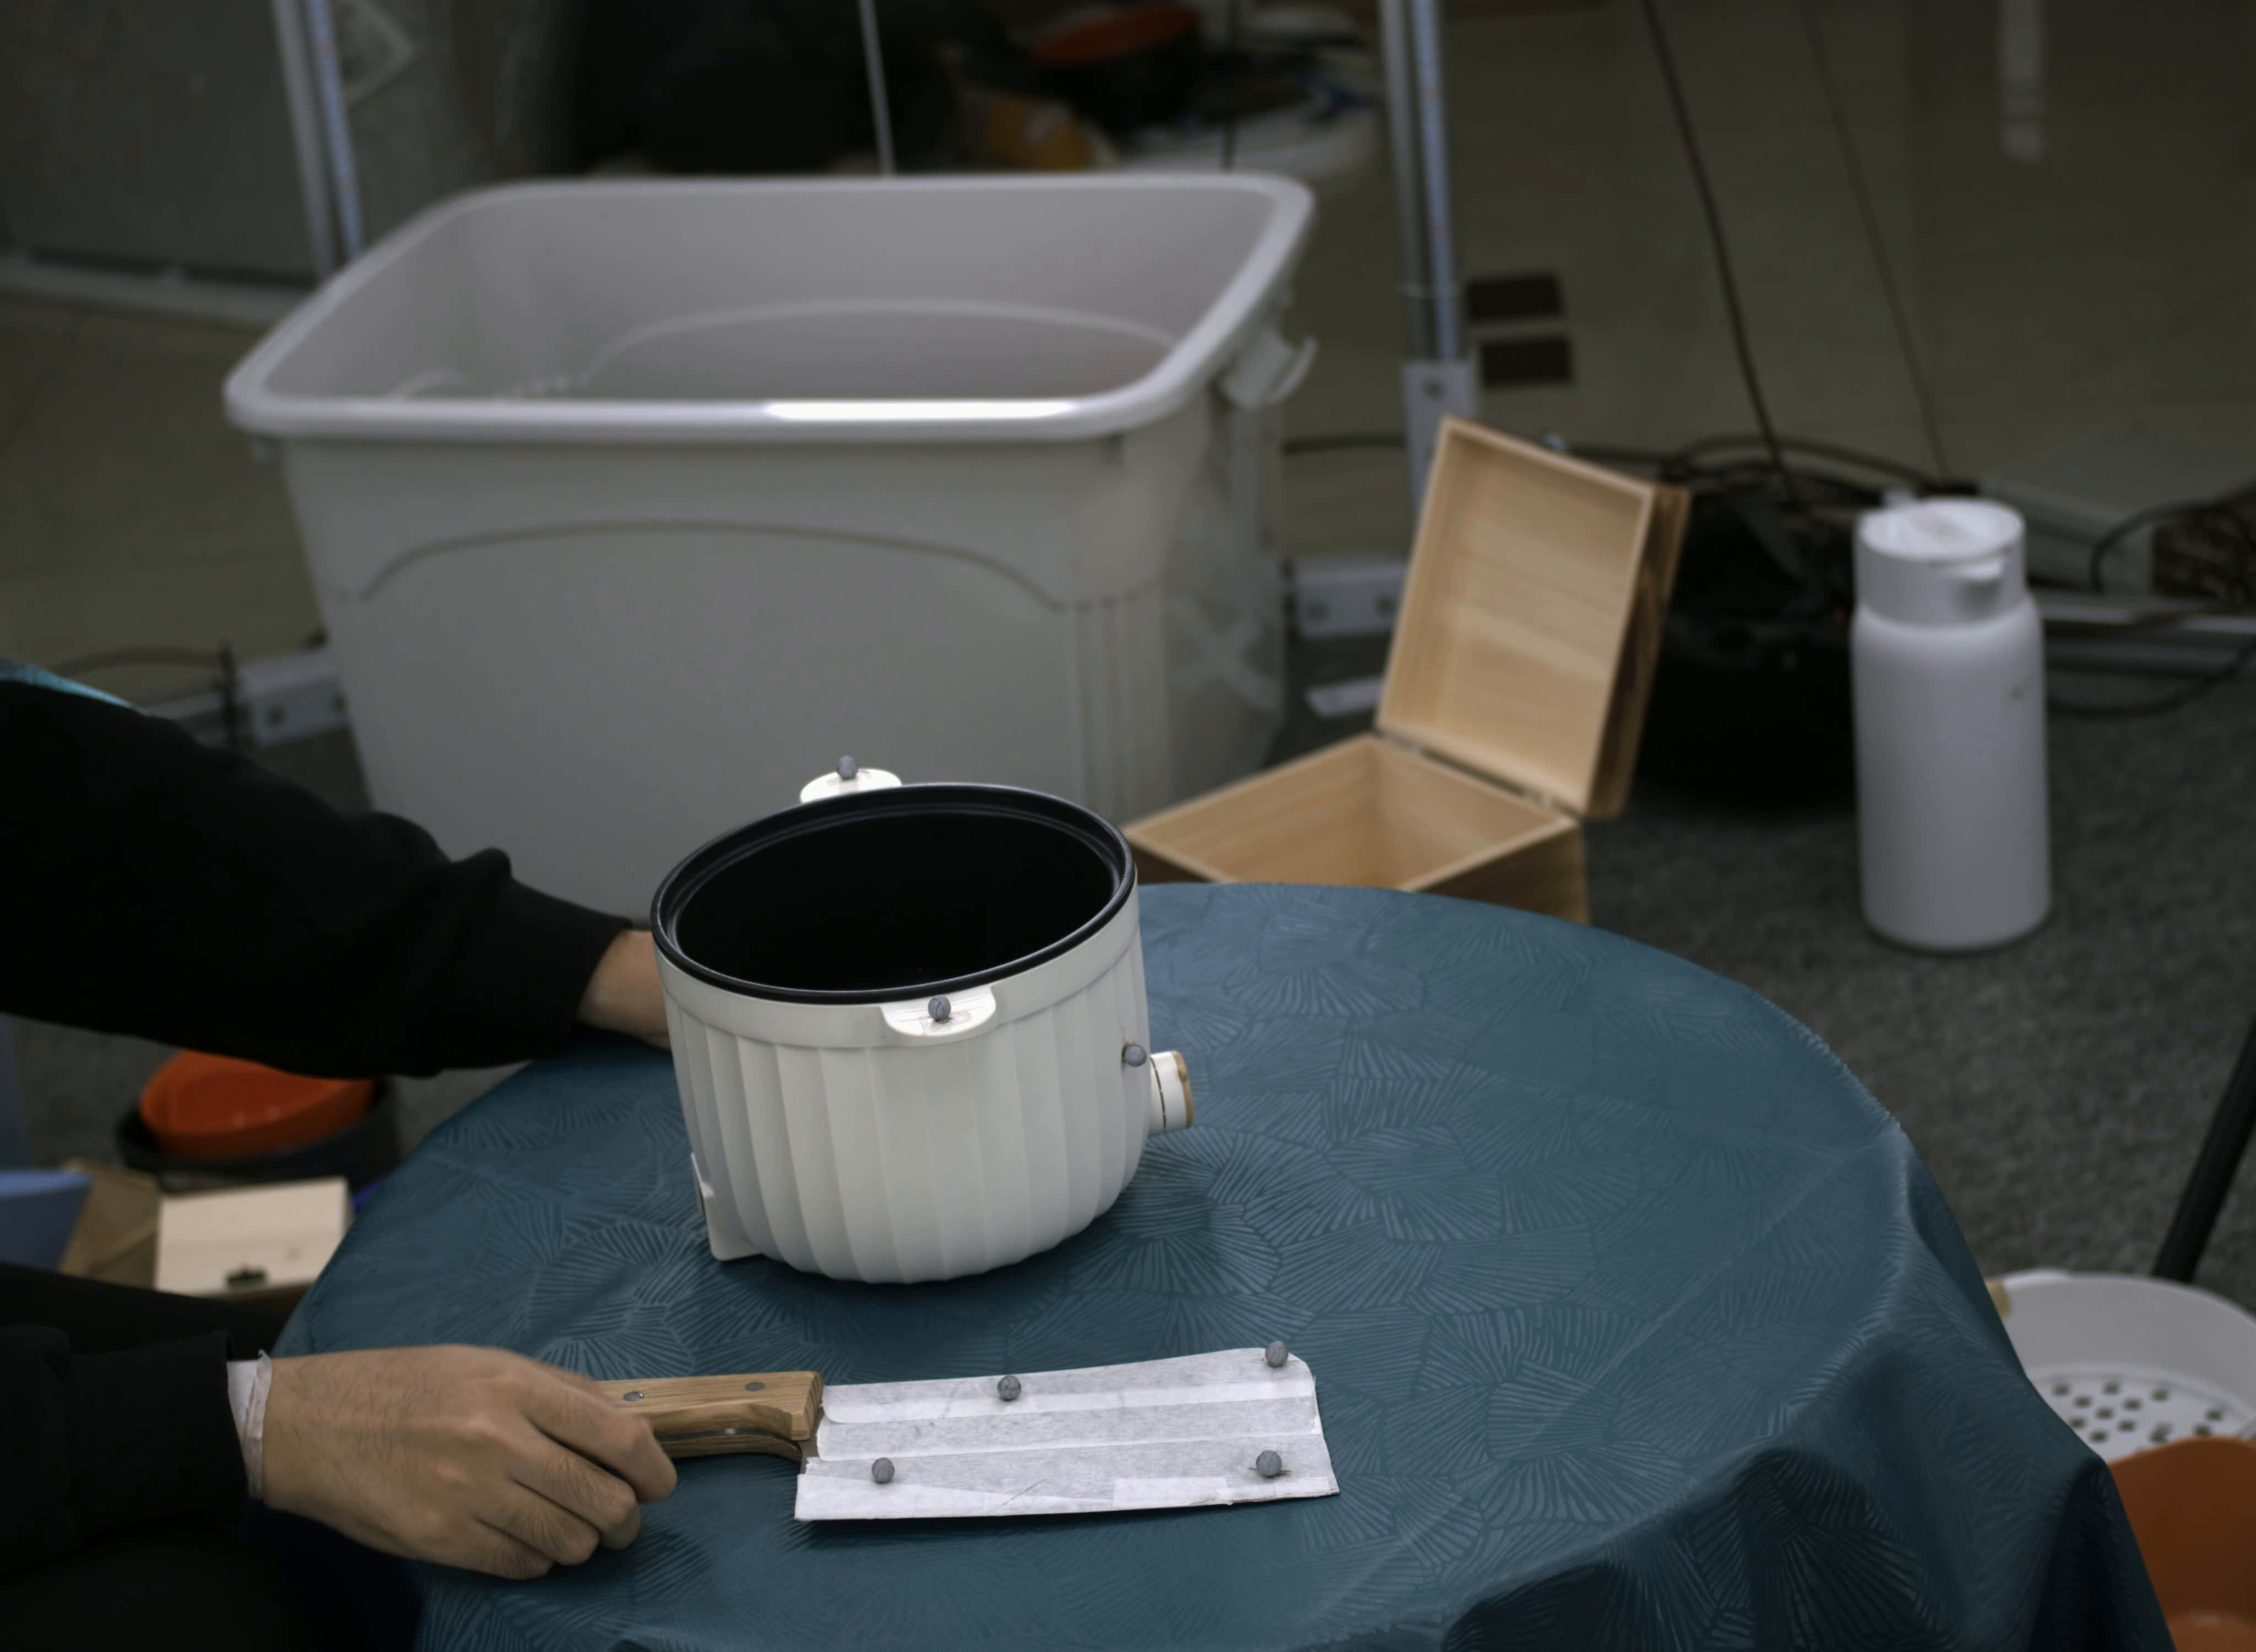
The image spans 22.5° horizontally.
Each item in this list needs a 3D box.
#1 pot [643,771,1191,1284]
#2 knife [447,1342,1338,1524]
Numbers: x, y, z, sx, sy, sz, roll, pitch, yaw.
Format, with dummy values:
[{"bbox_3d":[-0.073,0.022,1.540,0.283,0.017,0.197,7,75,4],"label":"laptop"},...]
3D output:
[{"bbox_3d":[-0.077,0.080,2.125,0.190,0.145,0.237,-13,27,-7],"label":"pot"},{"bbox_3d":[-0.083,0.213,1.988,0.315,0.022,0.112,-2,26,4],"label":"knife"}]
